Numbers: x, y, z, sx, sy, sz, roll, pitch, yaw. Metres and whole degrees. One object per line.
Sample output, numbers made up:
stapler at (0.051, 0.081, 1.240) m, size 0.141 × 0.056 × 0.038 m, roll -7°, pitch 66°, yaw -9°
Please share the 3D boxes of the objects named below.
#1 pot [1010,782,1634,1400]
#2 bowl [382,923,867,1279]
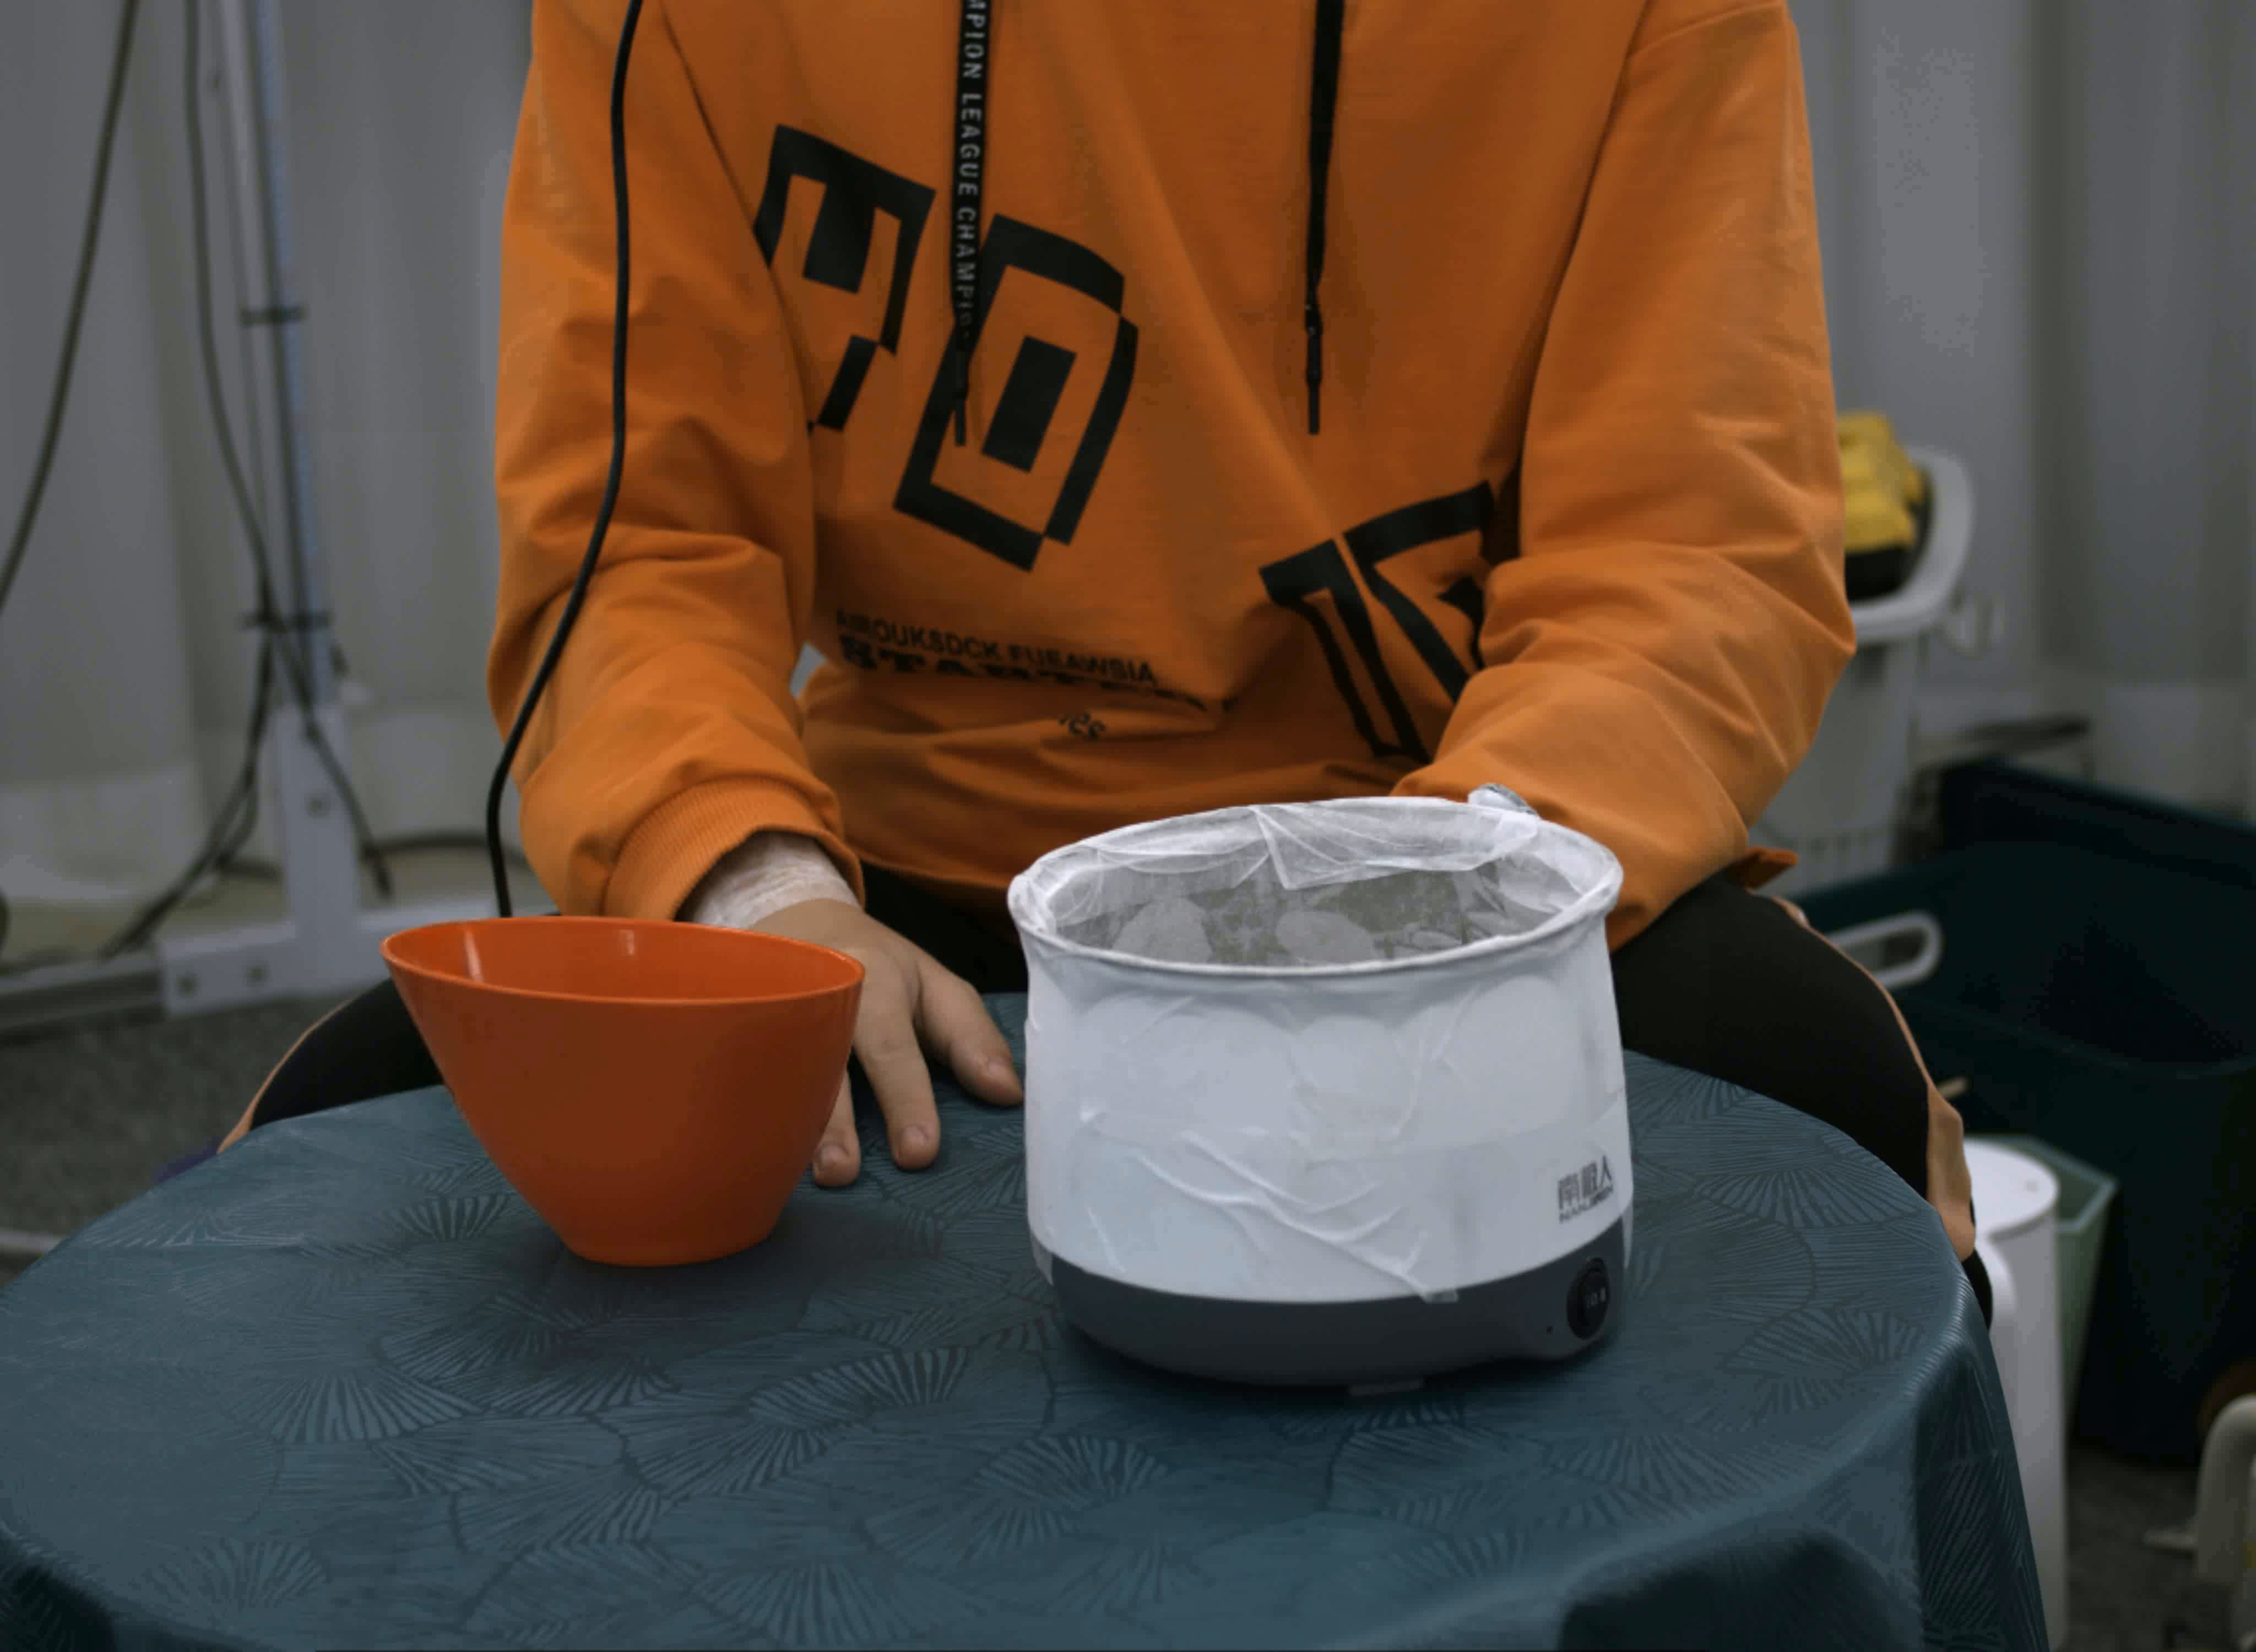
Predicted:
pot at (0.072, 0.070, 1.604) m, size 0.179 × 0.136 × 0.234 m, roll 7°, pitch 18°, yaw 33°
bowl at (-0.153, 0.083, 1.681) m, size 0.147 × 0.104 × 0.149 m, roll -2°, pitch 14°, yaw 0°
